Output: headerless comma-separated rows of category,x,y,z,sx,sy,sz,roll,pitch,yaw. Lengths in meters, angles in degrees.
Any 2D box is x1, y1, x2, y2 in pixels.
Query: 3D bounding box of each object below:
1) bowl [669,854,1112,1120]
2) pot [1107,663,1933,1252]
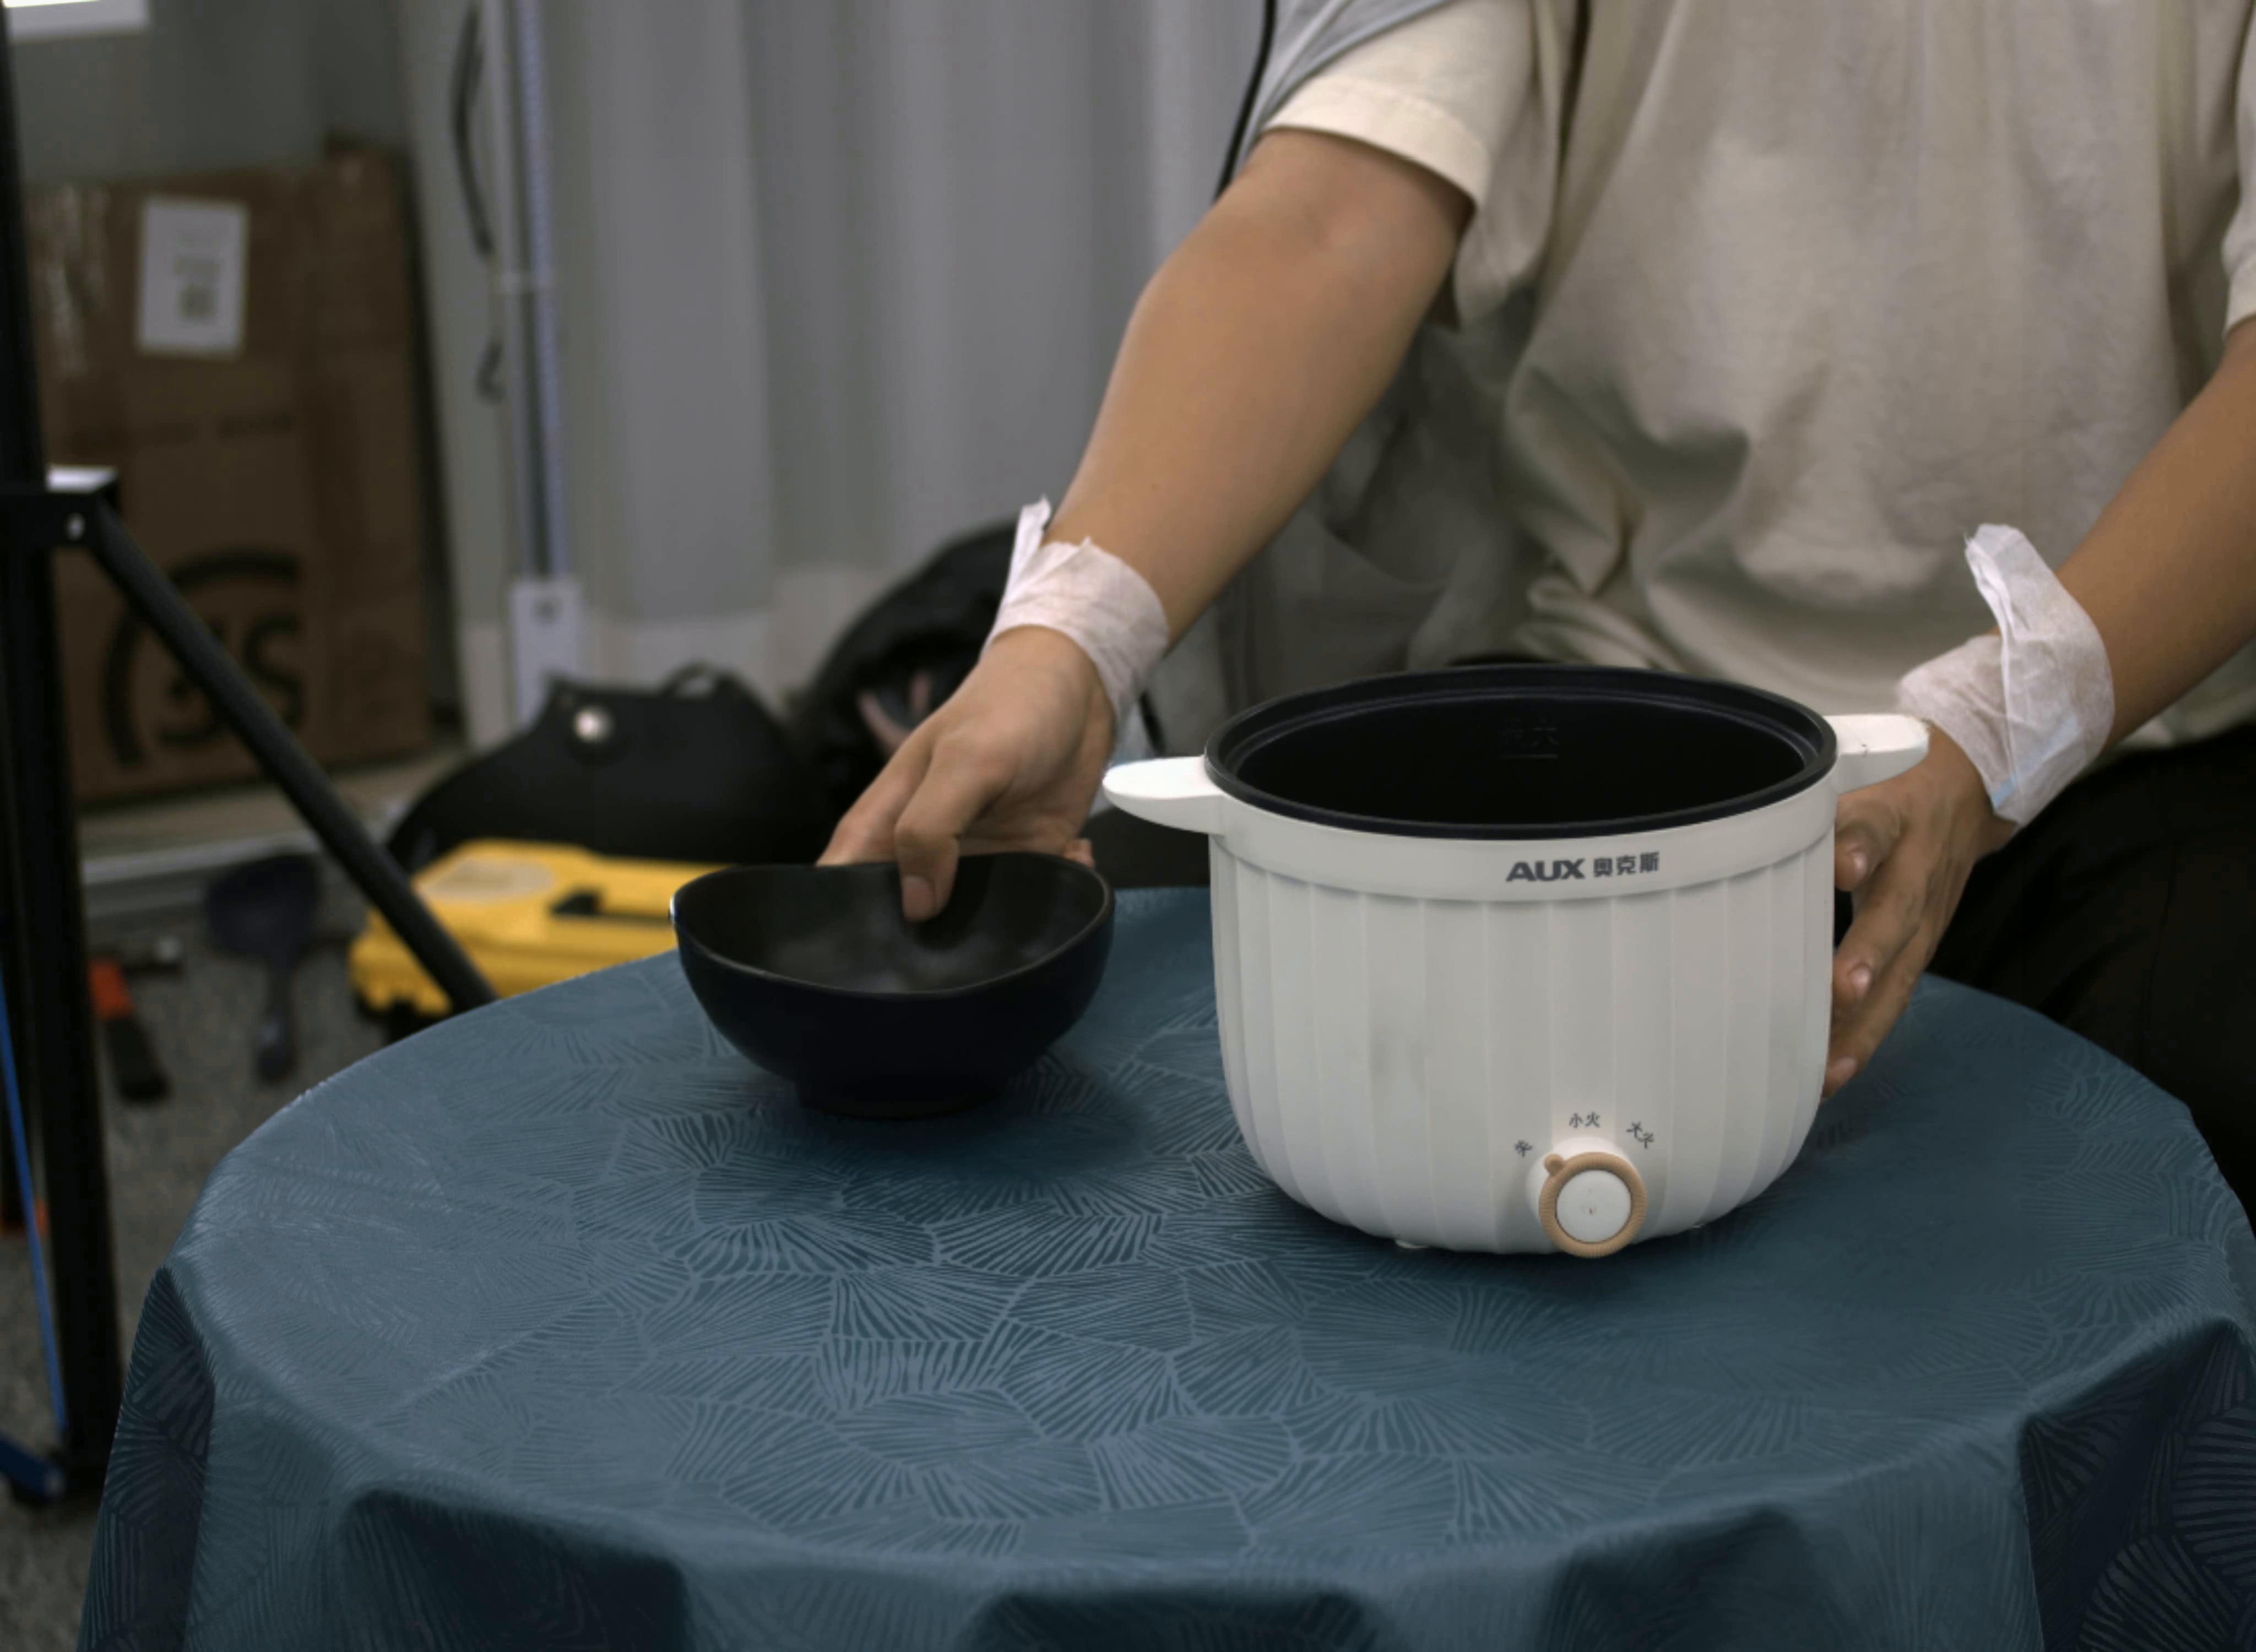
bowl,-0.073,0.051,1.650,0.136,0.067,0.172,-4,14,-6
pot,0.116,0.041,1.522,0.238,0.143,0.192,-5,12,-5
